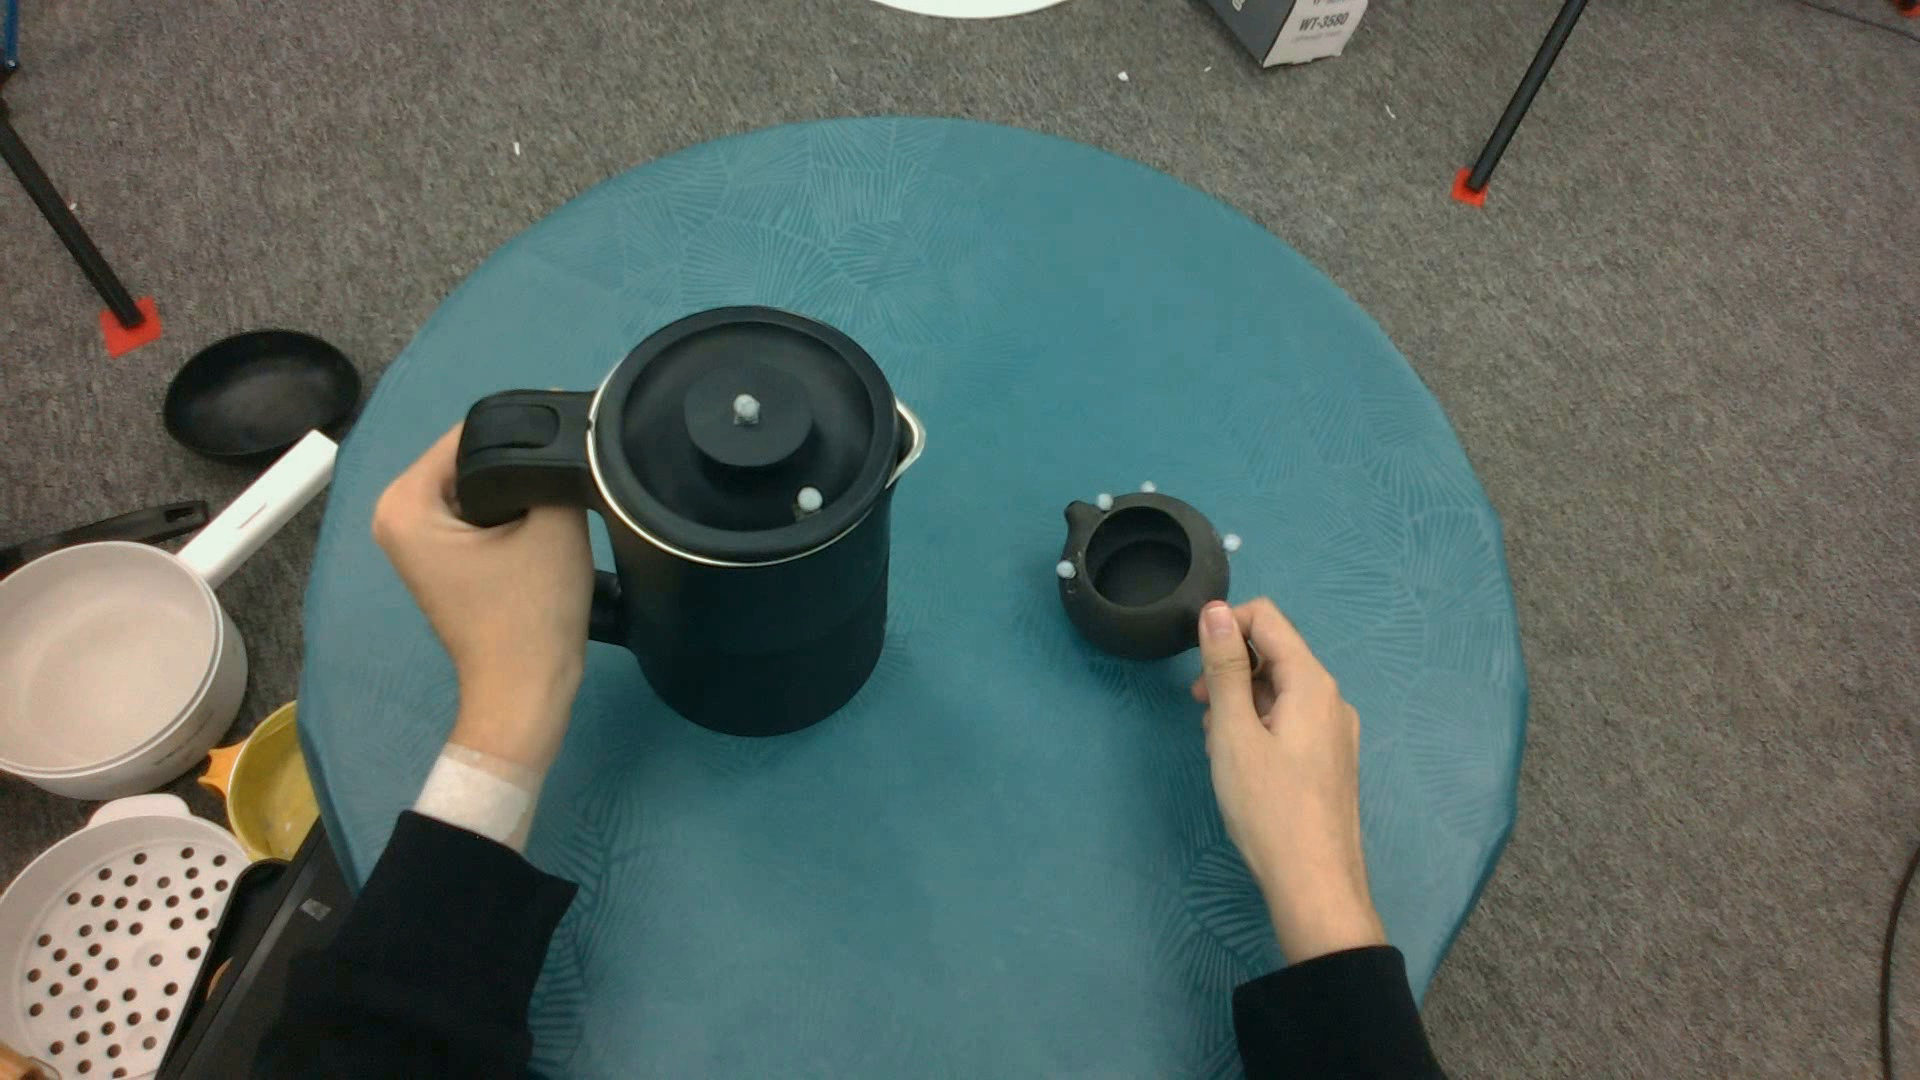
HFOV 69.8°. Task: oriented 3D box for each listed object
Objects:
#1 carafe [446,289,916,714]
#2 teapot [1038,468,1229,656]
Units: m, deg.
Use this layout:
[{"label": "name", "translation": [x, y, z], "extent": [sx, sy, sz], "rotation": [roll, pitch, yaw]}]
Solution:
[{"label": "carafe", "translation": [-0.111, -0.012, 0.548], "extent": [0.172, 0.172, 0.115], "rotation": [1, 63, -9]}, {"label": "teapot", "translation": [0.085, 0.013, 0.652], "extent": [0.083, 0.053, 0.114], "rotation": [-41, 62, -4]}]
